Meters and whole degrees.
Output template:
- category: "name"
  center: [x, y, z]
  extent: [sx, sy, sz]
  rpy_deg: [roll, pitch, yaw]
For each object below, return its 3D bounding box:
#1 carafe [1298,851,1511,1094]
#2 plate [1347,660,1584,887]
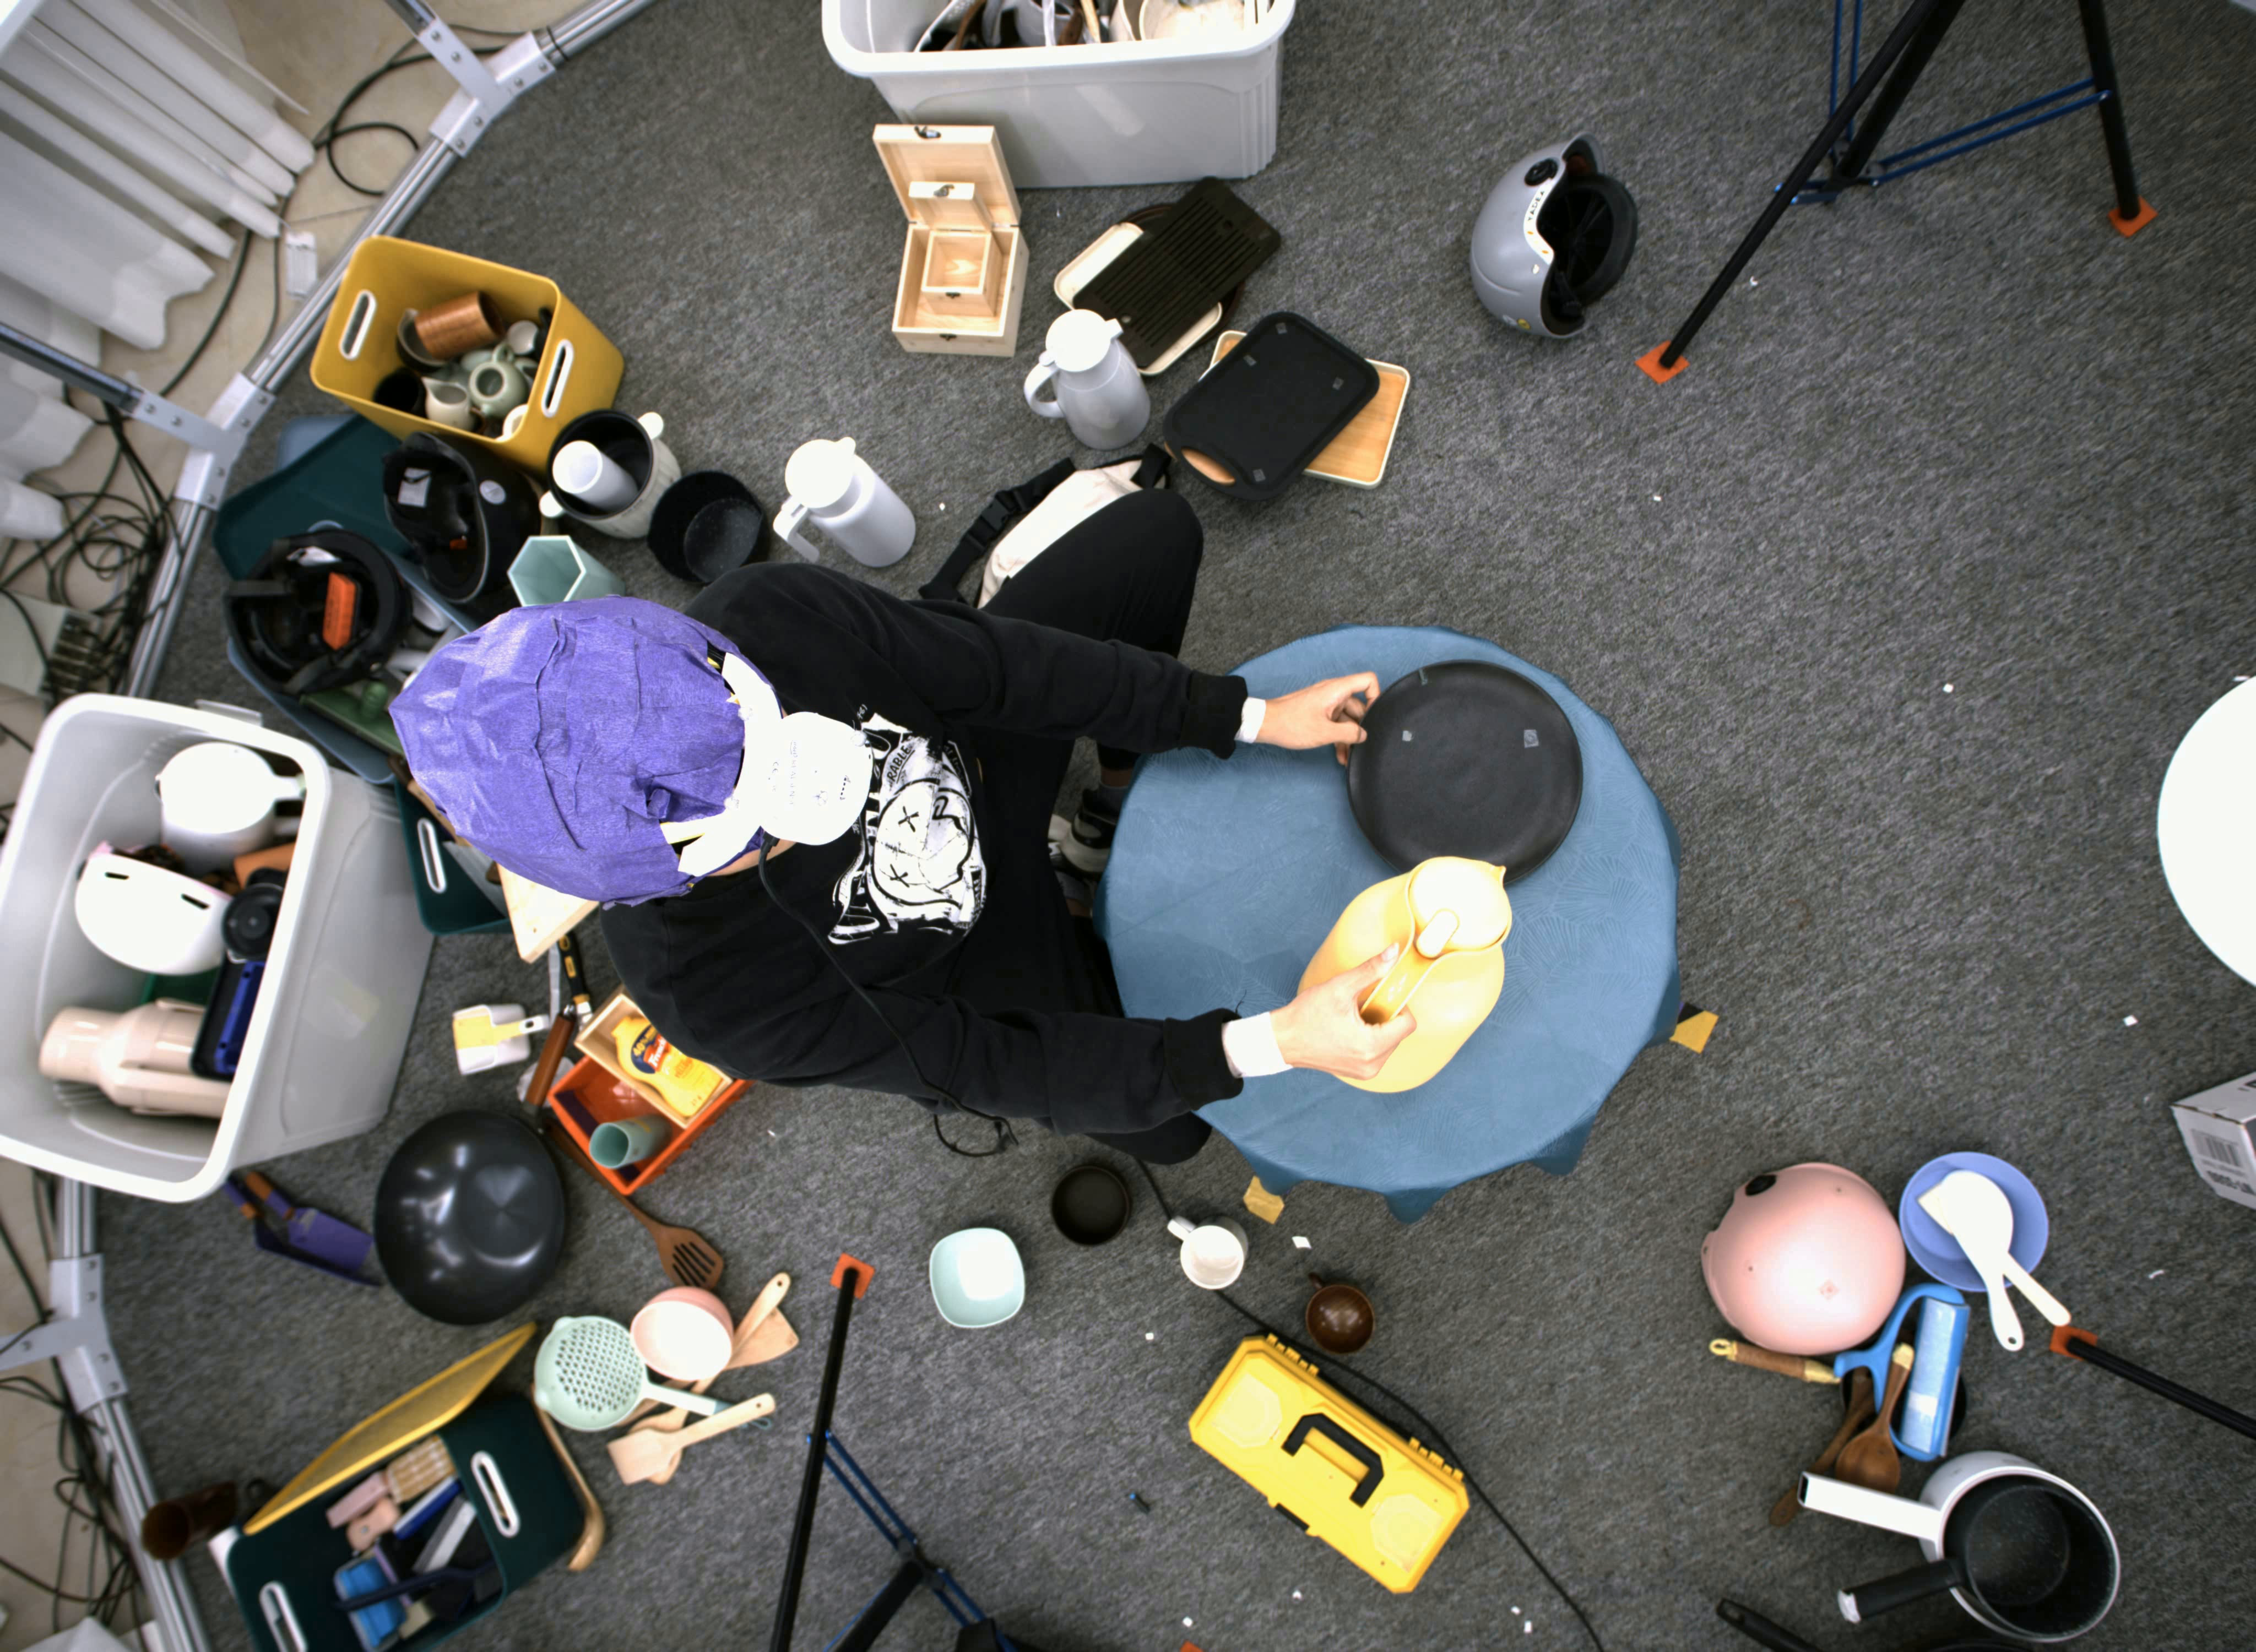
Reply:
- category: "carafe"
  center: [0.250, 0.141, 1.271]
  extent: [0.162, 0.267, 0.198]
  rpy_deg: [38, 58, 15]
- category: "plate"
  center: [0.349, -0.053, 1.430]
  extent: [0.245, 0.023, 0.244]
  rpy_deg: [0, 91, 6]
